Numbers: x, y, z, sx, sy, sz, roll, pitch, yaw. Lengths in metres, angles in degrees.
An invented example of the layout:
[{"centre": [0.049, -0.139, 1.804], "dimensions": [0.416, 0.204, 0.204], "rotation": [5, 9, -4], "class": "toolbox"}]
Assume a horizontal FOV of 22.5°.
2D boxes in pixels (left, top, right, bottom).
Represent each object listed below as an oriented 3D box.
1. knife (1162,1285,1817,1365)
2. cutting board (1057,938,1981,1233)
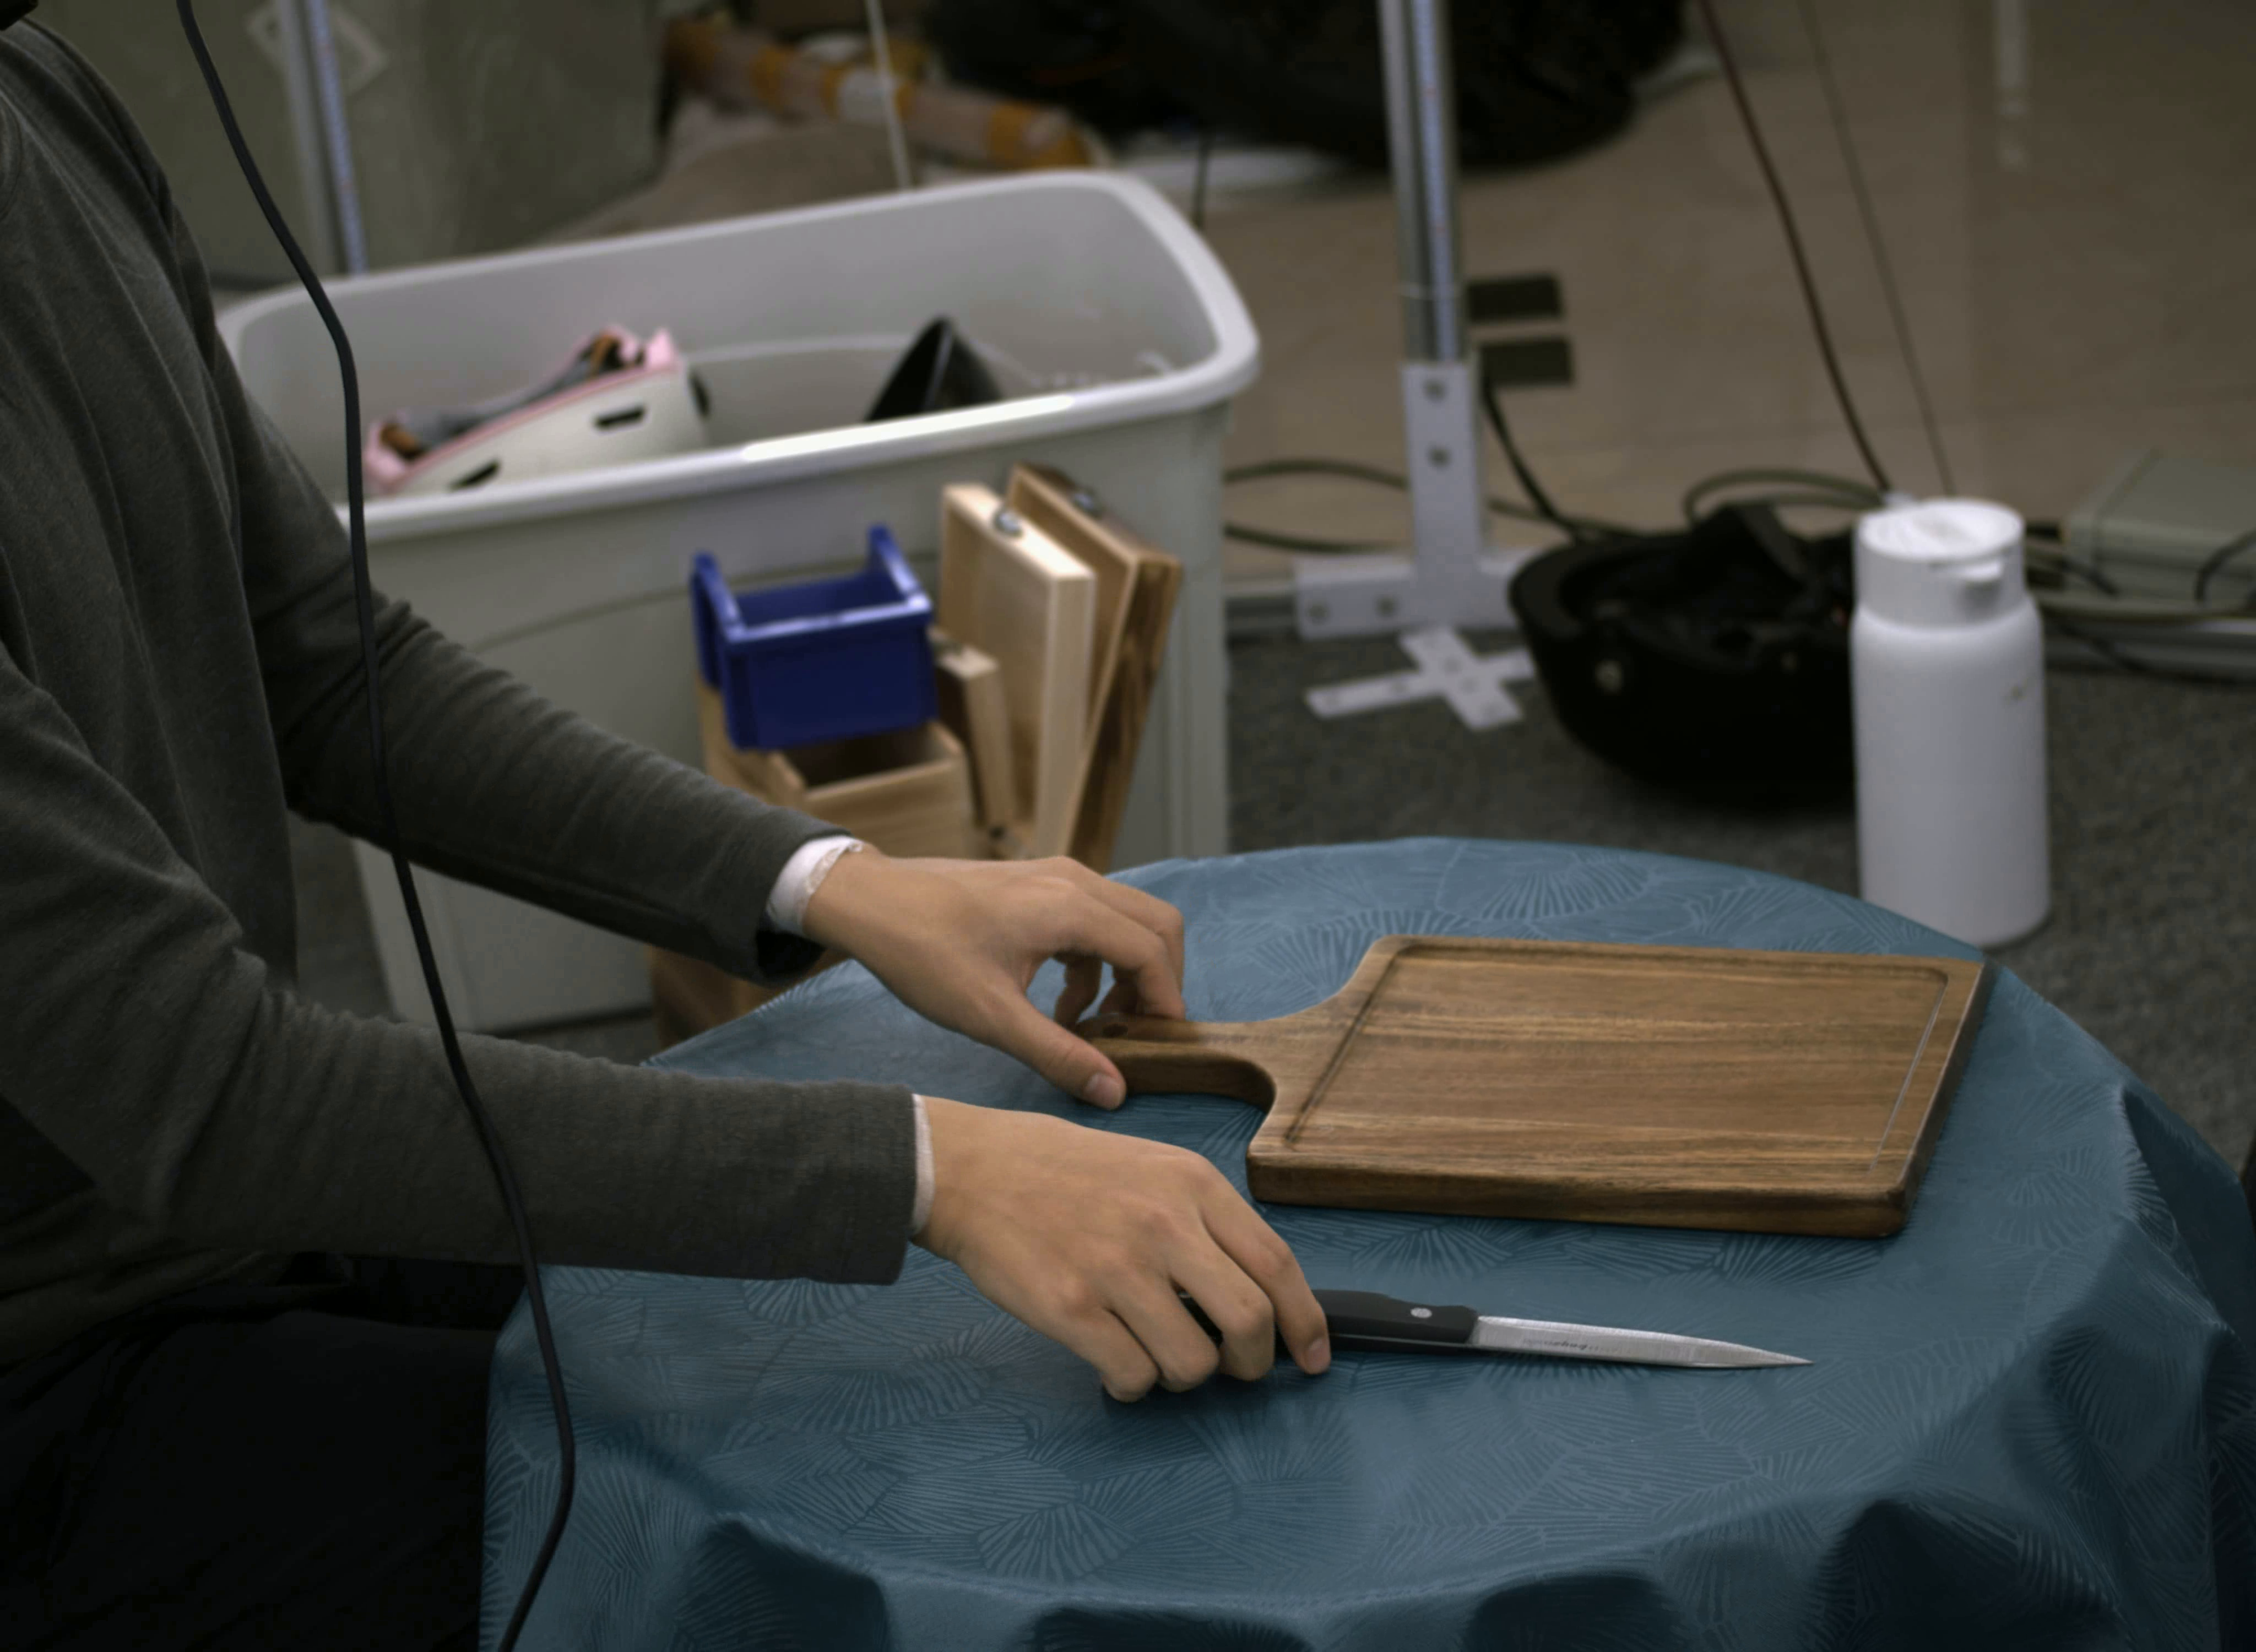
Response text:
[{"centre": [0.126, 0.181, 2.017], "dimensions": [0.237, 0.016, 0.024], "rotation": [3, 28, 14], "class": "knife"}, {"centre": [0.141, 0.095, 2.187], "dimensions": [0.351, 0.023, 0.198], "rotation": [2, 26, 18], "class": "cutting board"}]
